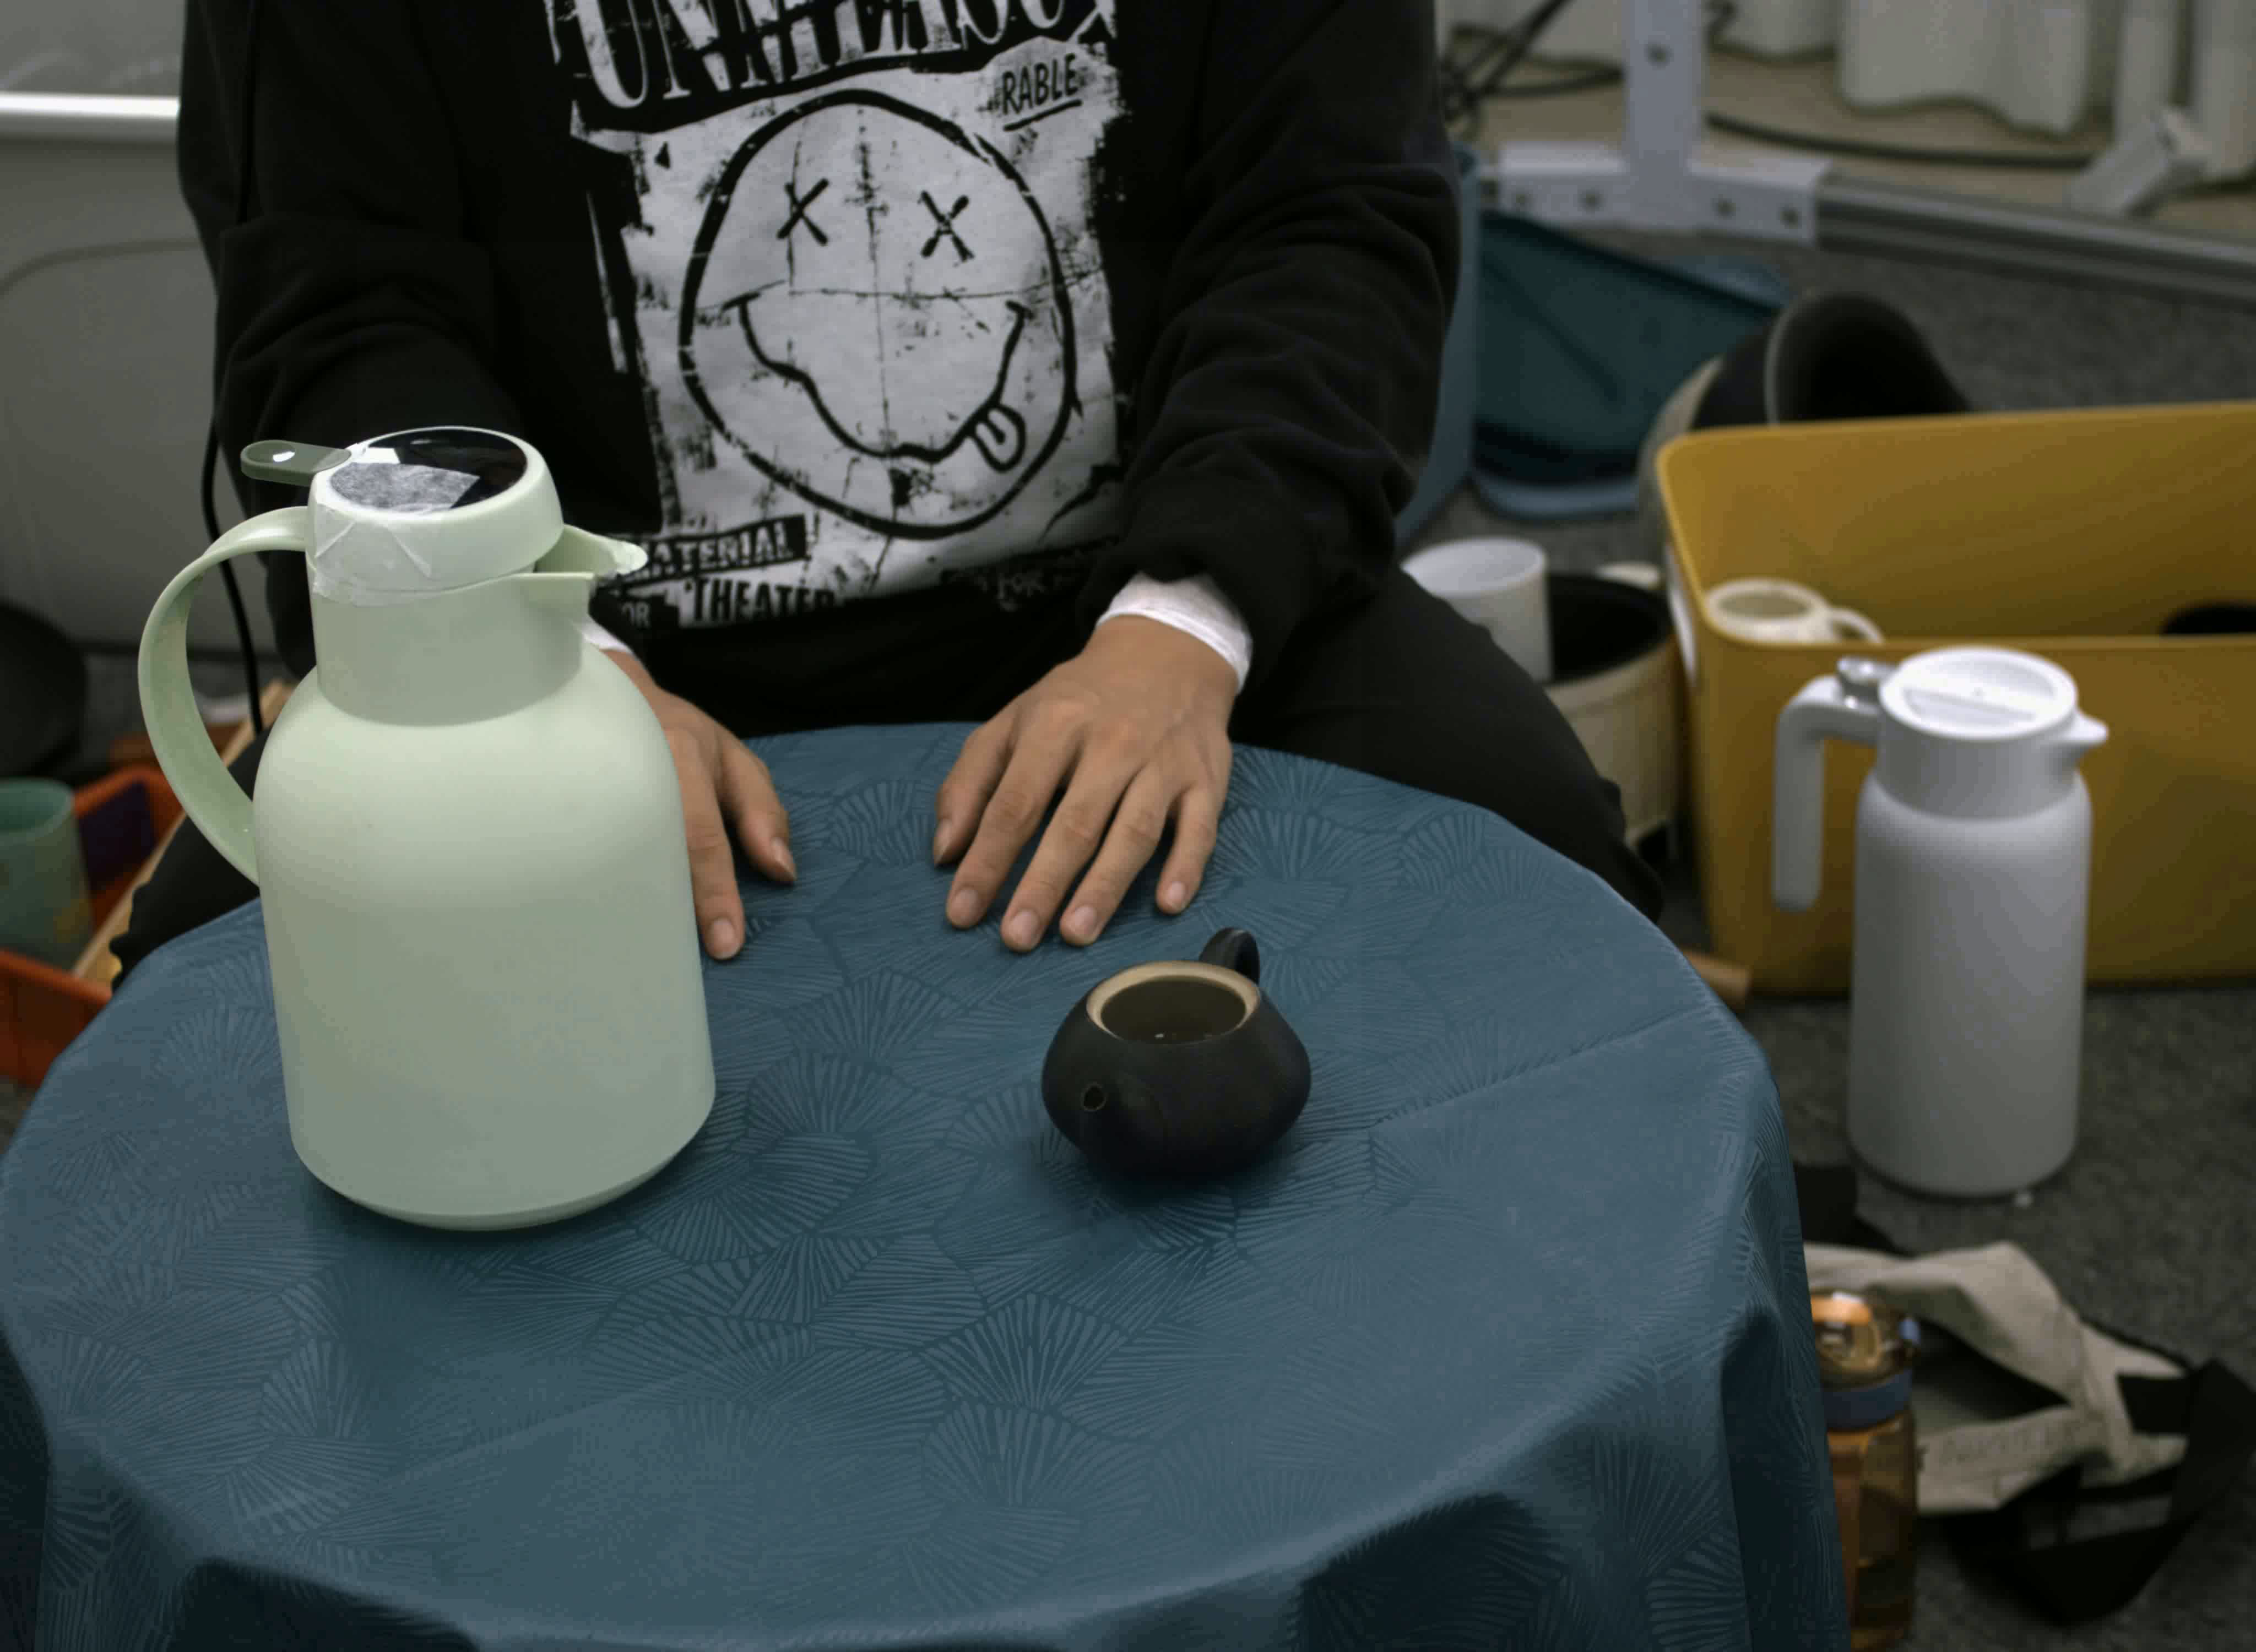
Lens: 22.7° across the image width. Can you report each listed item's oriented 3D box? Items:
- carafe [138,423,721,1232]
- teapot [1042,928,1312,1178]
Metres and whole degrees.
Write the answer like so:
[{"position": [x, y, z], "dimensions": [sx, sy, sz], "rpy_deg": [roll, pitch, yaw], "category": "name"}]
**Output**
[{"position": [-0.231, -0.005, 1.858], "dimensions": [0.185, 0.254, 0.147], "rpy_deg": [3, 28, 19], "category": "carafe"}, {"position": [0.017, 0.081, 1.877], "dimensions": [0.090, 0.052, 0.135], "rpy_deg": [10, 30, 21], "category": "teapot"}]
